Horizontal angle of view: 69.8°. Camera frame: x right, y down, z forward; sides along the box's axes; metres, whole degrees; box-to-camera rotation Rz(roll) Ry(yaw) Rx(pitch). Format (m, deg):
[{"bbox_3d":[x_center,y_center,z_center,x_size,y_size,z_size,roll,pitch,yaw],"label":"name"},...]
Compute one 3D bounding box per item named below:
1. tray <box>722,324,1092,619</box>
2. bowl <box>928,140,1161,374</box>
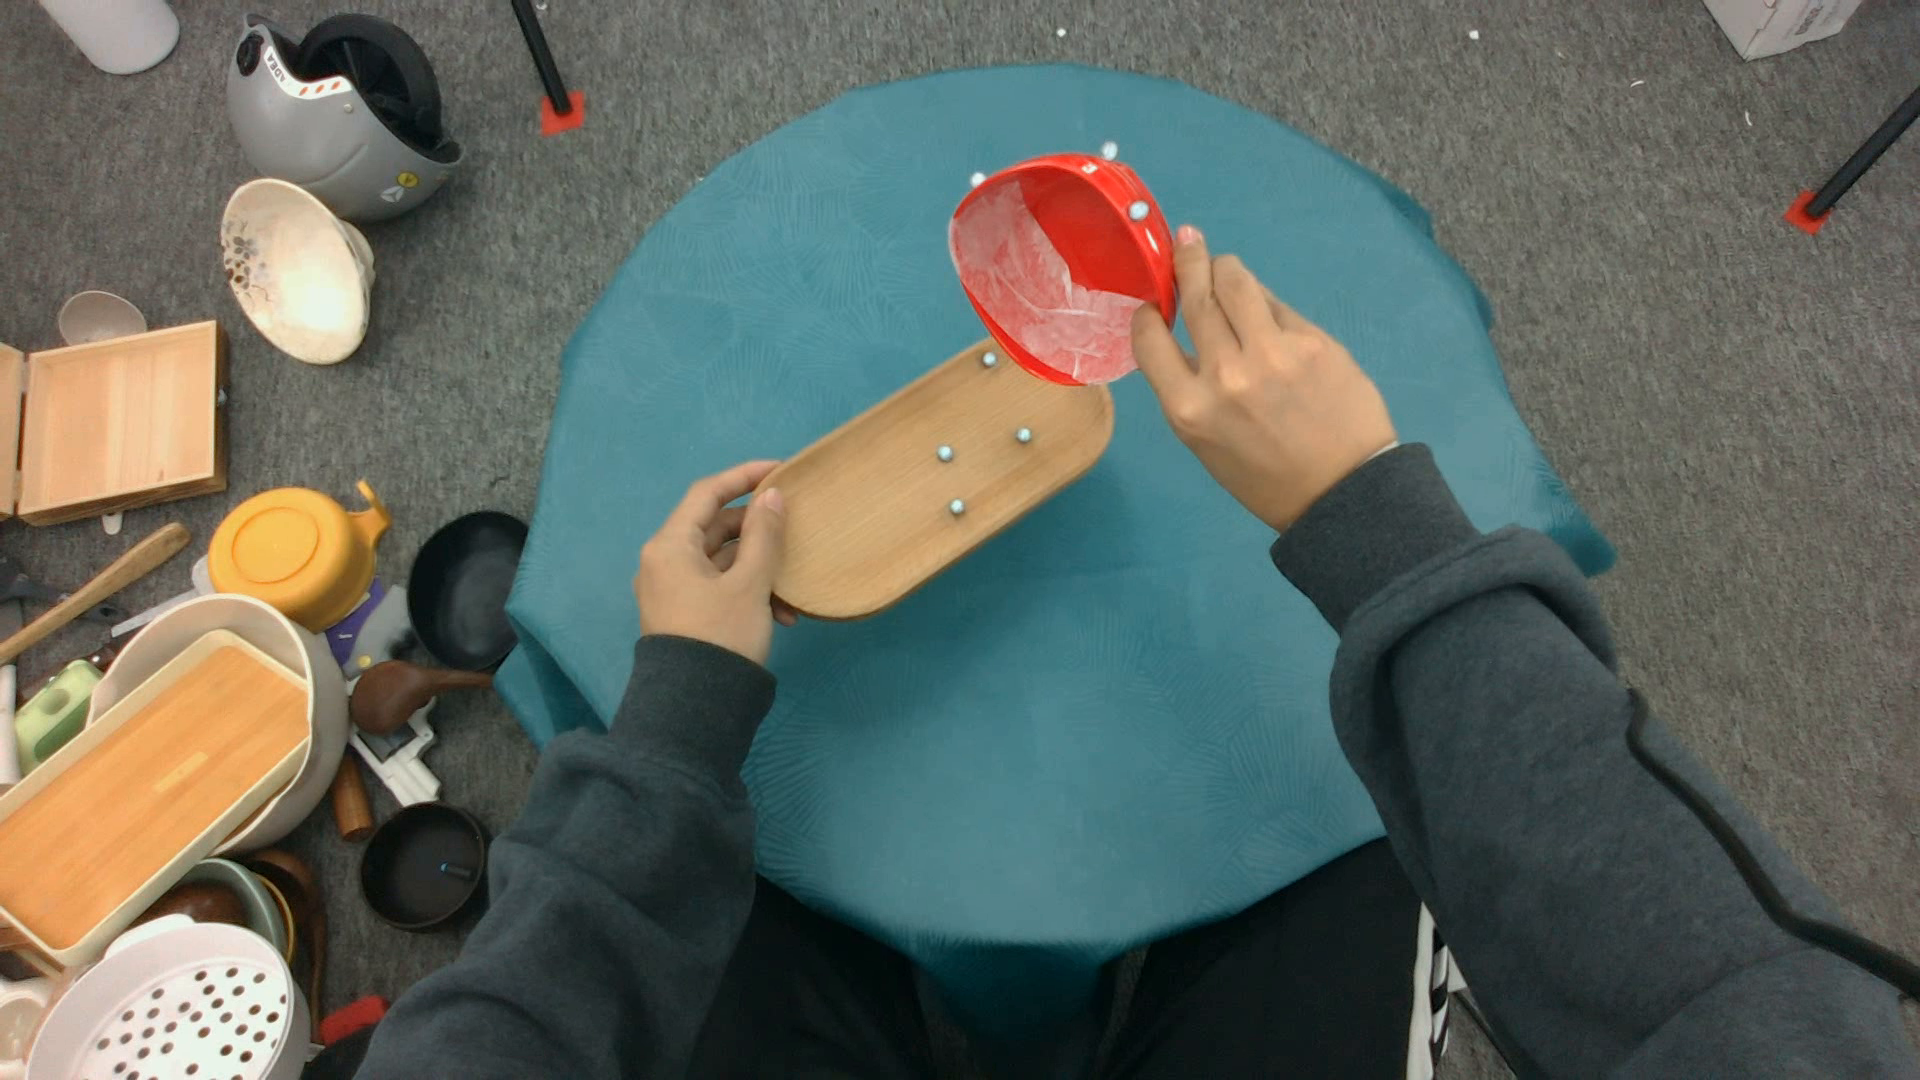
[{"bbox_3d":[-0.025,-0.041,0.750,0.232,0.020,0.102,-37,72,-21],"label":"tray"},{"bbox_3d":[0.048,-0.139,0.648,0.119,0.118,0.051,32,50,15],"label":"bowl"}]
